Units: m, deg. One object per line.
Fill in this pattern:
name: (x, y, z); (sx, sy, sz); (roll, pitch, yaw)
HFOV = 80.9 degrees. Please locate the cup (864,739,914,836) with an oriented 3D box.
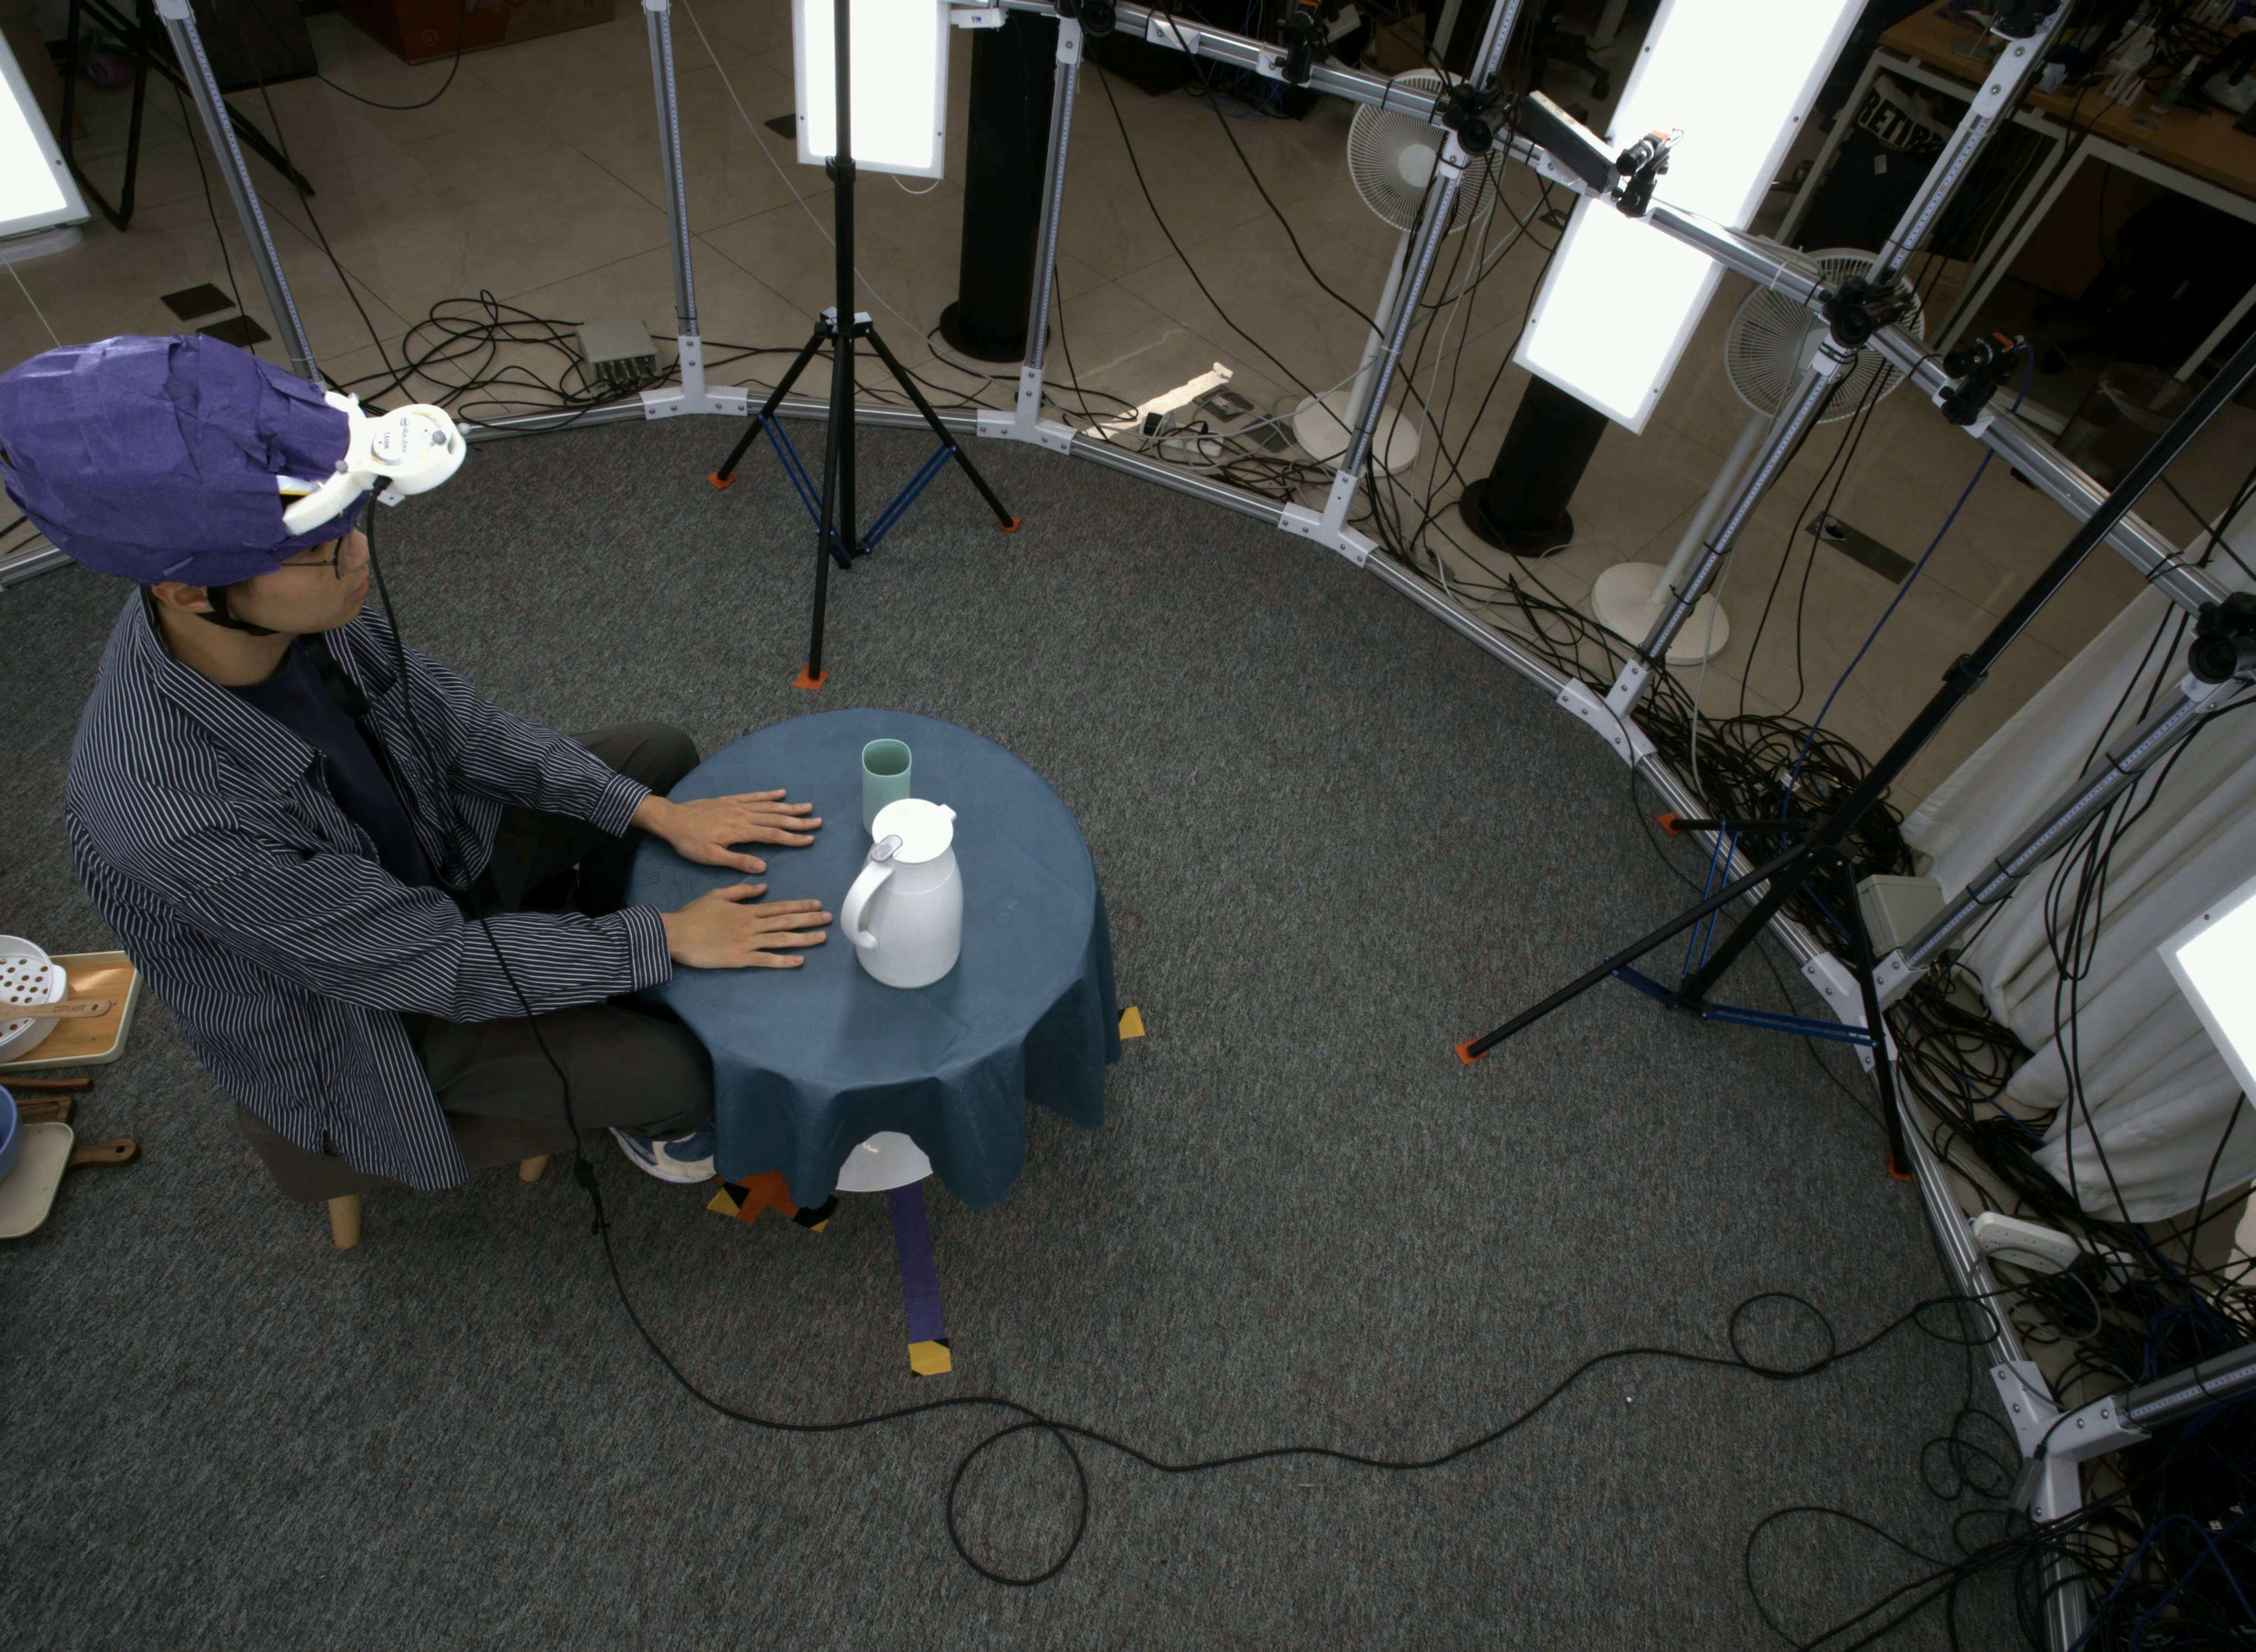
cup: (-0.319, -0.047, 1.719); (0.066, 0.135, 0.065); (7, 51, -7)

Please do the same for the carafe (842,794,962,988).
carafe: (-0.273, 0.084, 1.550); (0.130, 0.254, 0.167); (34, 55, 15)
